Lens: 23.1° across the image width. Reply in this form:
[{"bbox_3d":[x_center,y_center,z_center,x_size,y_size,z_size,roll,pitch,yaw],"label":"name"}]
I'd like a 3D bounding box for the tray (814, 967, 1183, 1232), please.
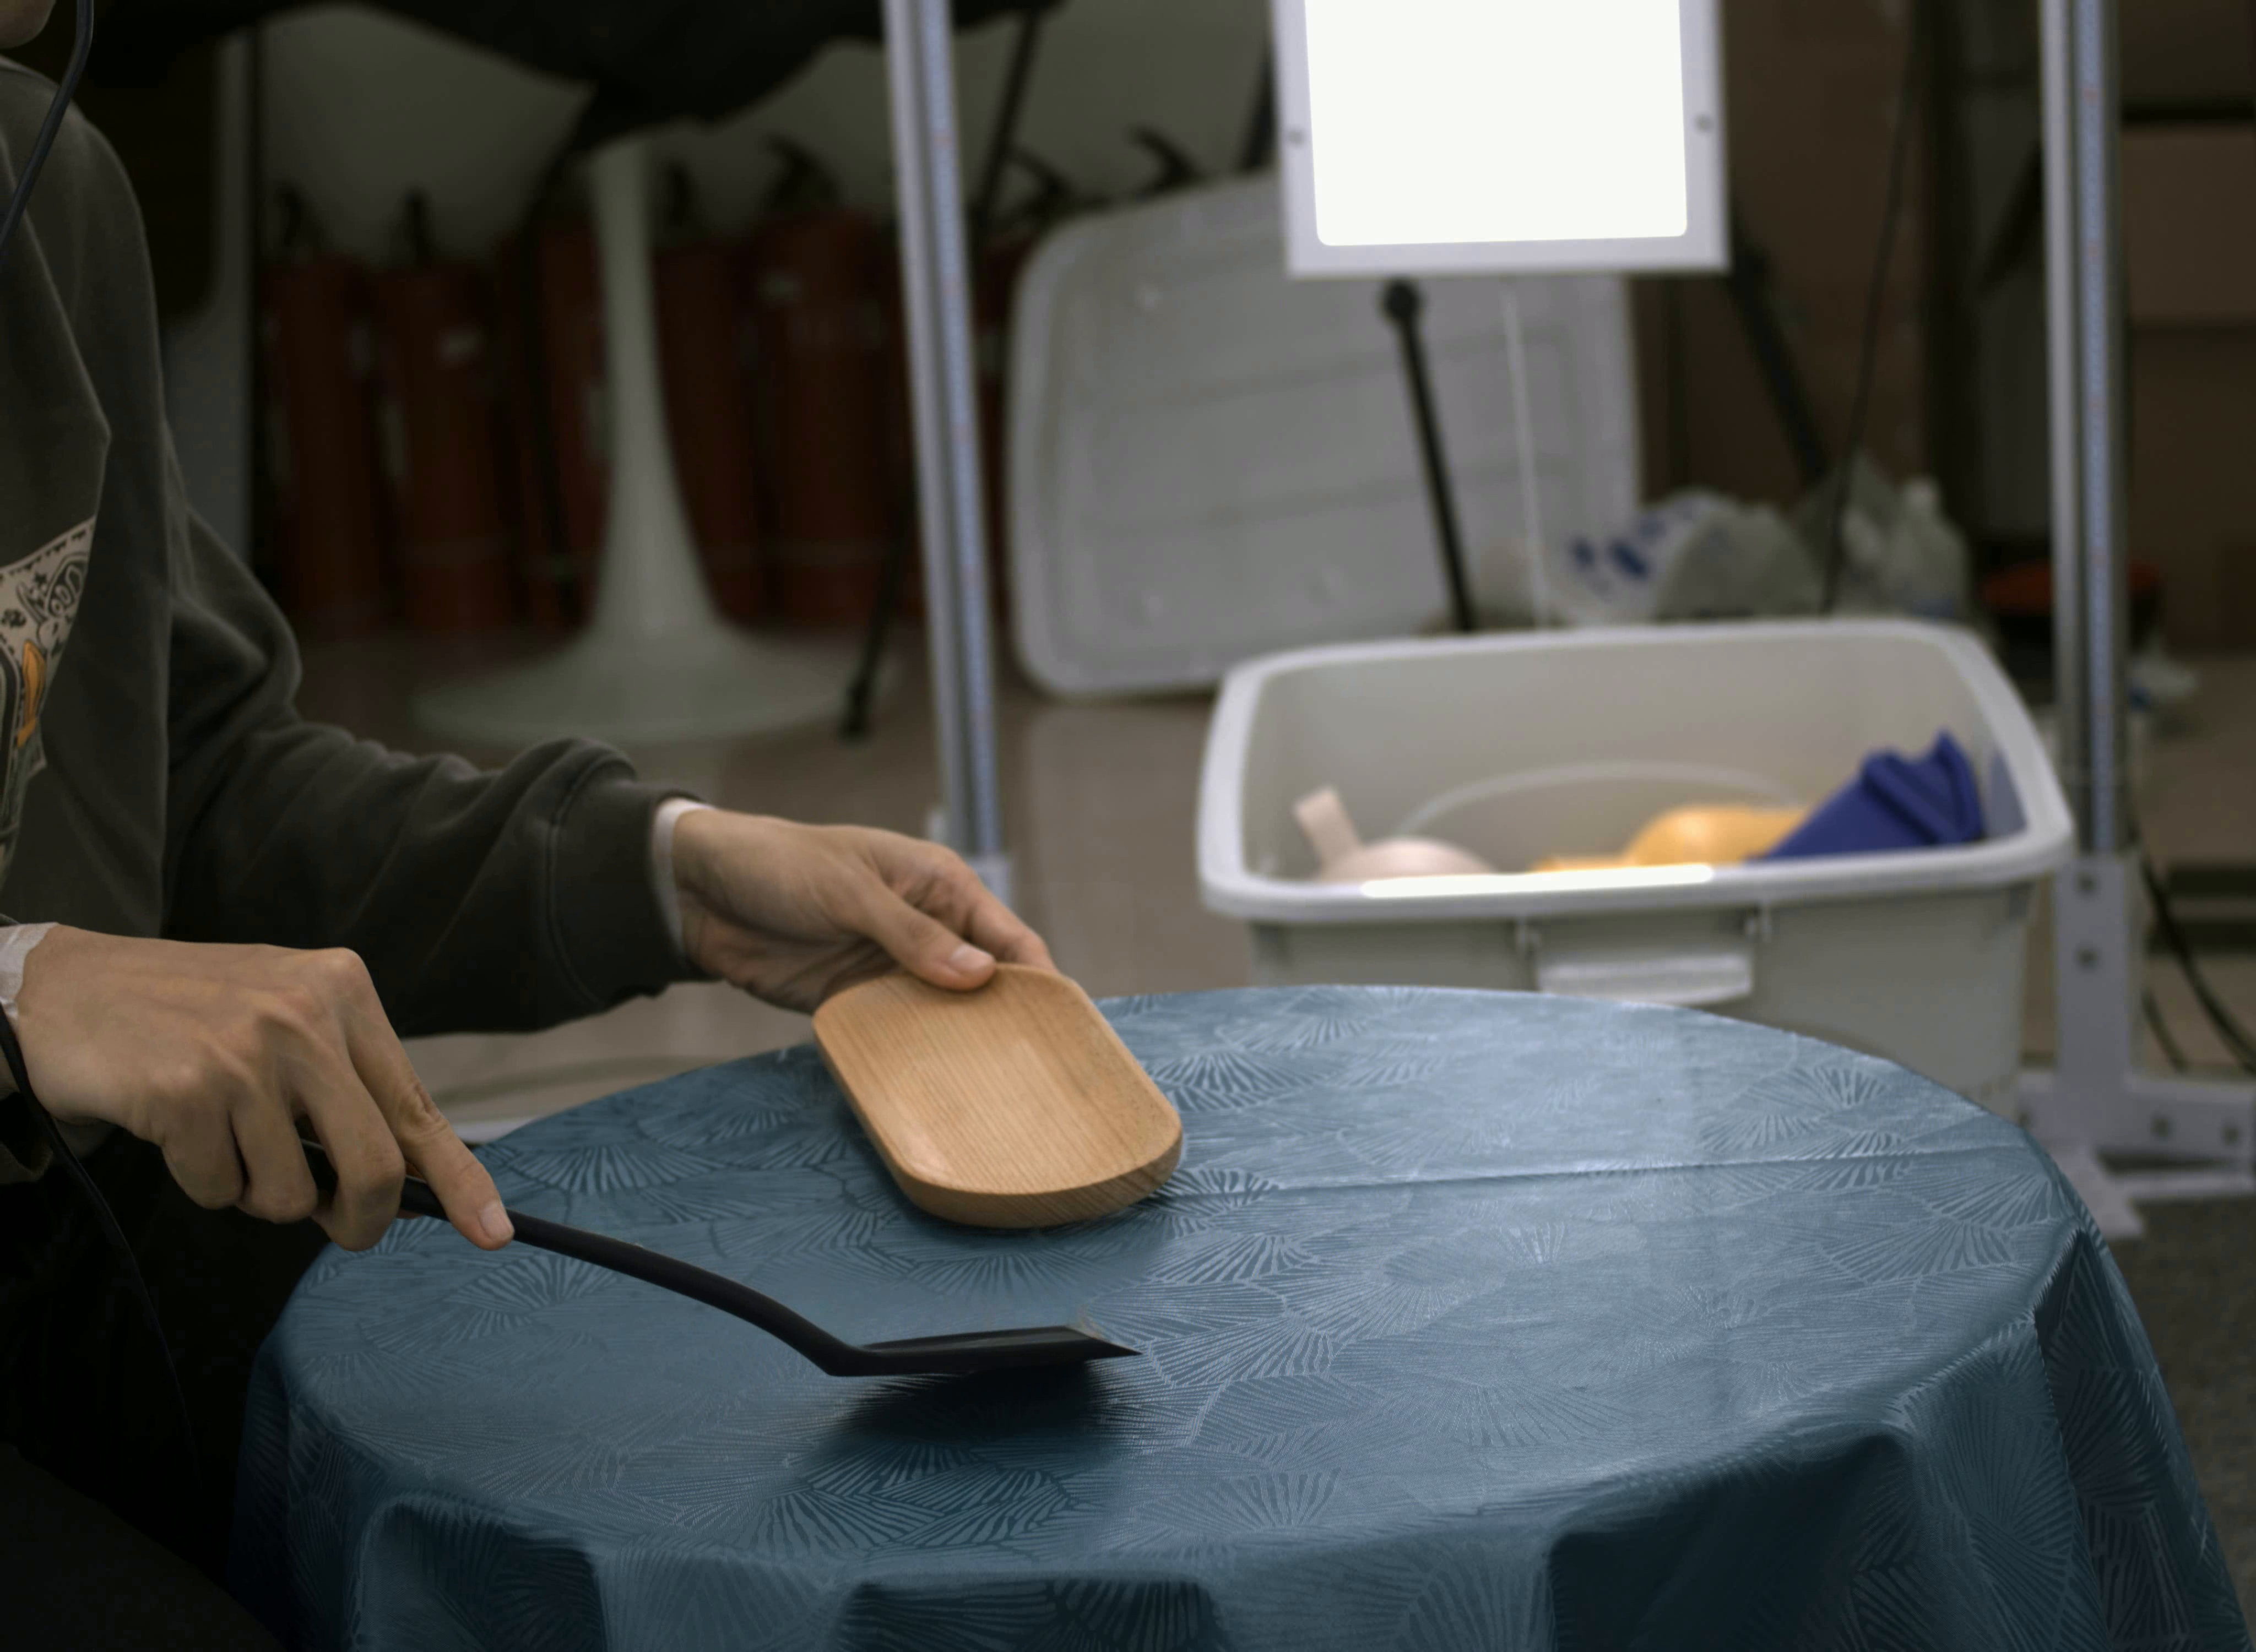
[{"bbox_3d":[-0.048,0.095,1.957,0.100,0.020,0.233,-11,21,-11],"label":"tray"}]

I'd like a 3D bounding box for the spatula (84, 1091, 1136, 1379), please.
[{"bbox_3d":[-0.157,0.124,1.678,0.323,0.040,0.101,21,-10,-9],"label":"spatula"}]
